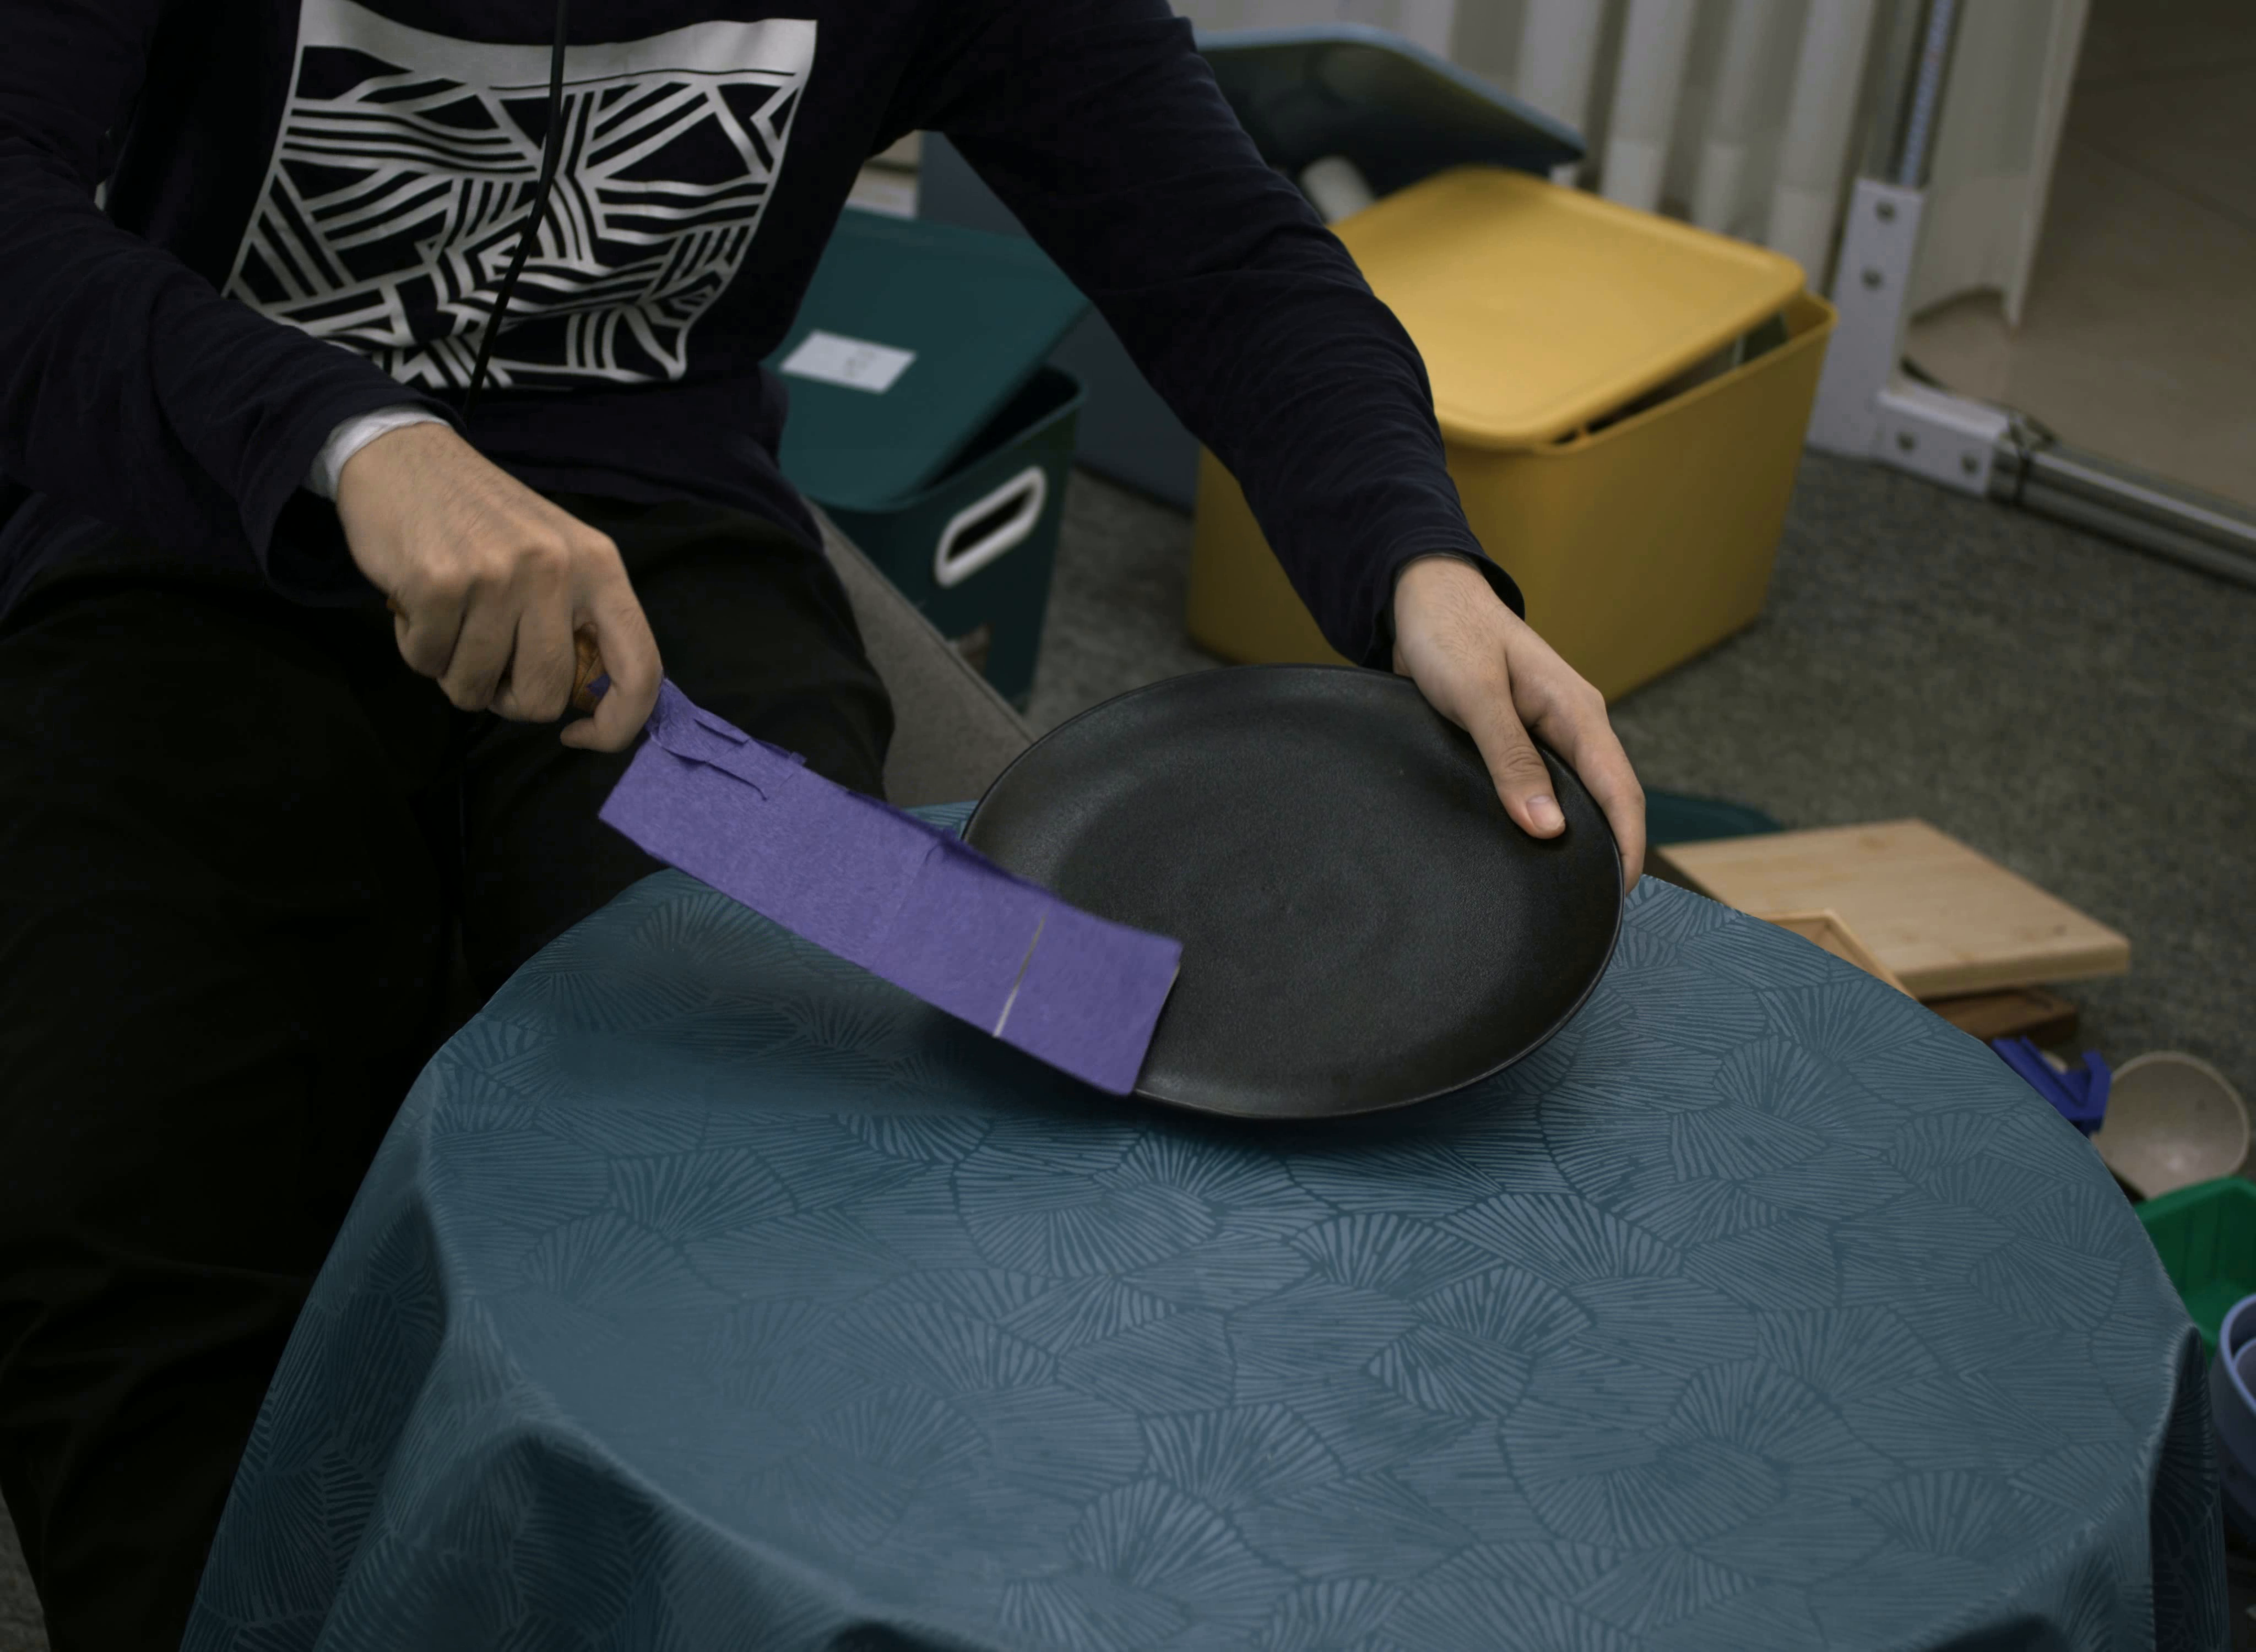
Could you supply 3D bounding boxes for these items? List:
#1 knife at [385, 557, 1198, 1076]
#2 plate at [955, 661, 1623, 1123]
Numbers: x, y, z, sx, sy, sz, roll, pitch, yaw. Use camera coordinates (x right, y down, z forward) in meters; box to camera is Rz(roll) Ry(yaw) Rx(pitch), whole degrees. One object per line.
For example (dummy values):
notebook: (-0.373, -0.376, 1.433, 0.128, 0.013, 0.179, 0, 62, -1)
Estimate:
knife: (-0.124, -0.003, 1.870, 0.314, 0.032, 0.104, 25, 33, 0)
plate: (0.057, 0.026, 1.928, 0.244, 0.023, 0.246, -2, 42, 2)
